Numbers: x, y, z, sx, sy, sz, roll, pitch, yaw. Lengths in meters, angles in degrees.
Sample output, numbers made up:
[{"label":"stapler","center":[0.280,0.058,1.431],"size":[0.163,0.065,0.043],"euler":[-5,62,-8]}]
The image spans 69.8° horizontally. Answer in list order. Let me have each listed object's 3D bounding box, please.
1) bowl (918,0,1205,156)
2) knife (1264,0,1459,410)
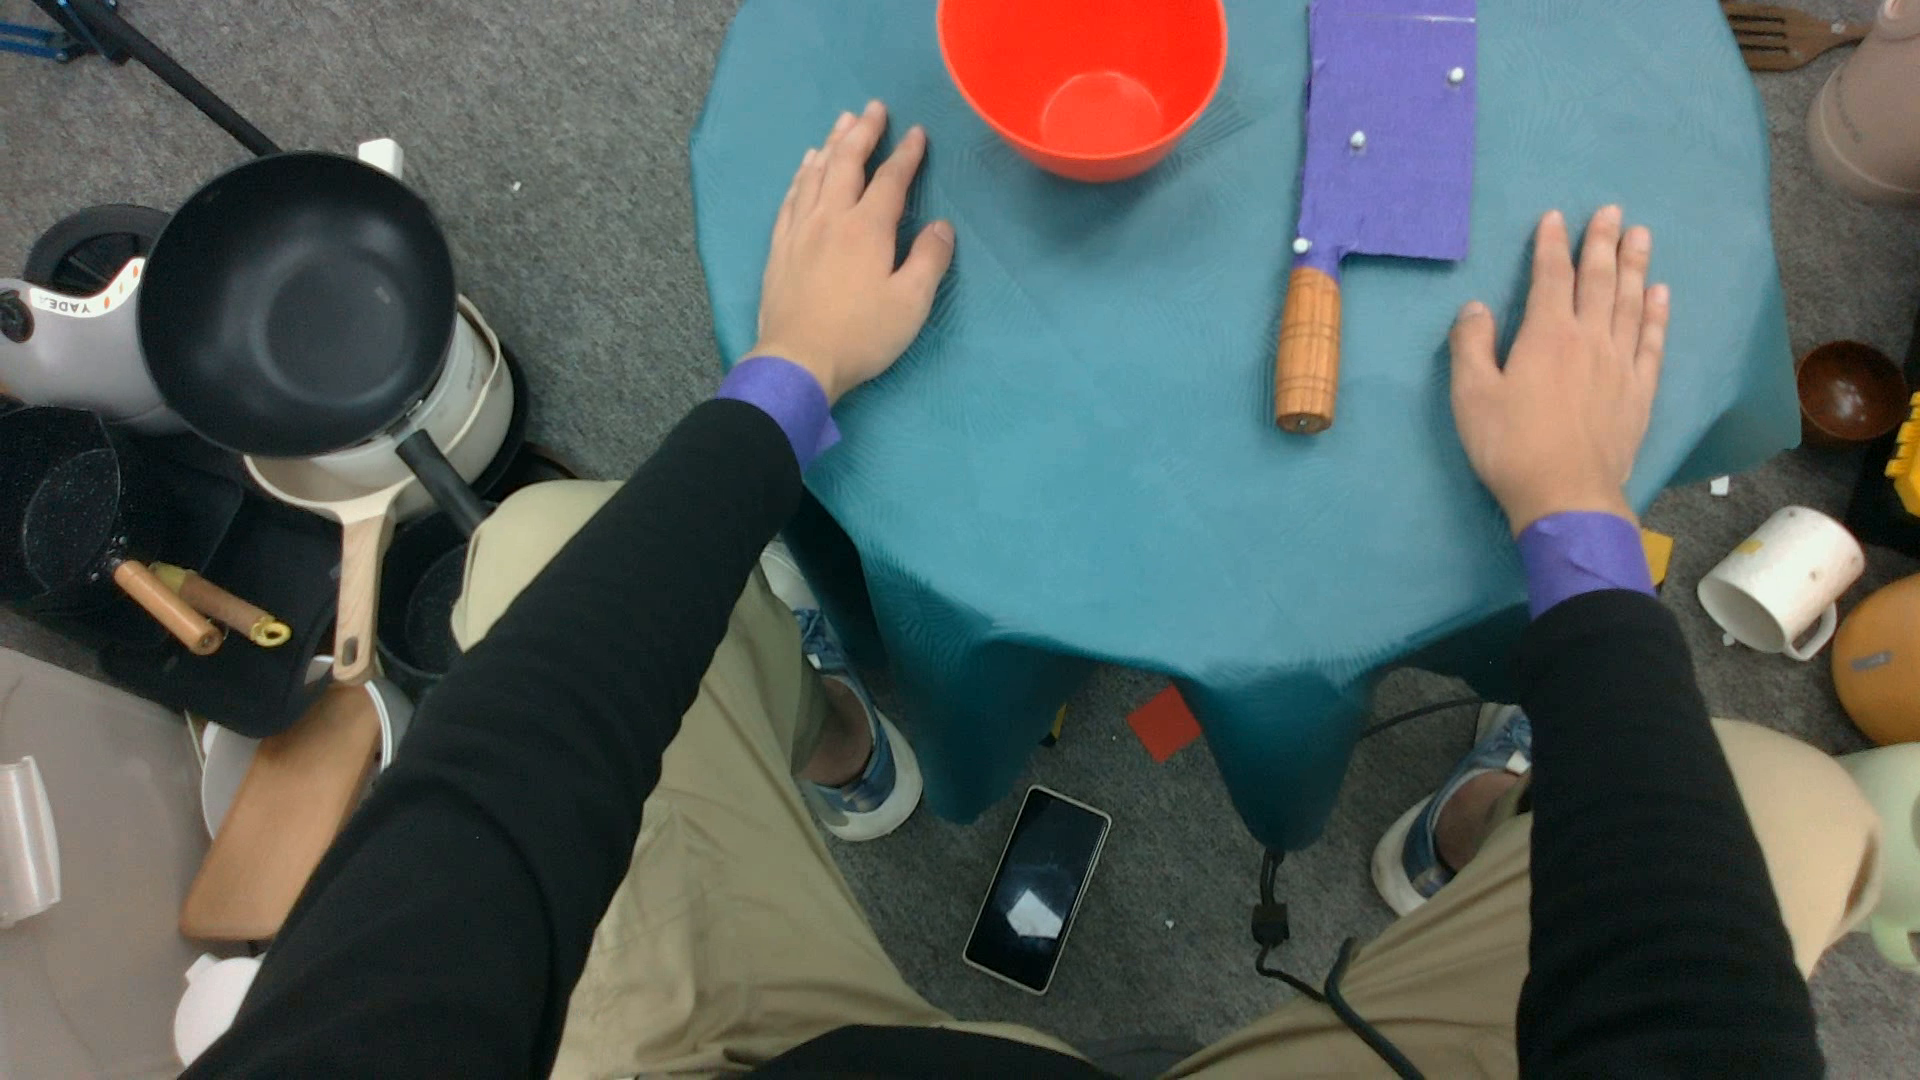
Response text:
[{"label":"bowl","center":[0.055,-0.267,0.743],"size":[0.148,0.104,0.148],"euler":[-1,74,3]},{"label":"knife","center":[0.220,-0.220,0.757],"size":[0.104,0.032,0.316],"euler":[5,75,6]}]
